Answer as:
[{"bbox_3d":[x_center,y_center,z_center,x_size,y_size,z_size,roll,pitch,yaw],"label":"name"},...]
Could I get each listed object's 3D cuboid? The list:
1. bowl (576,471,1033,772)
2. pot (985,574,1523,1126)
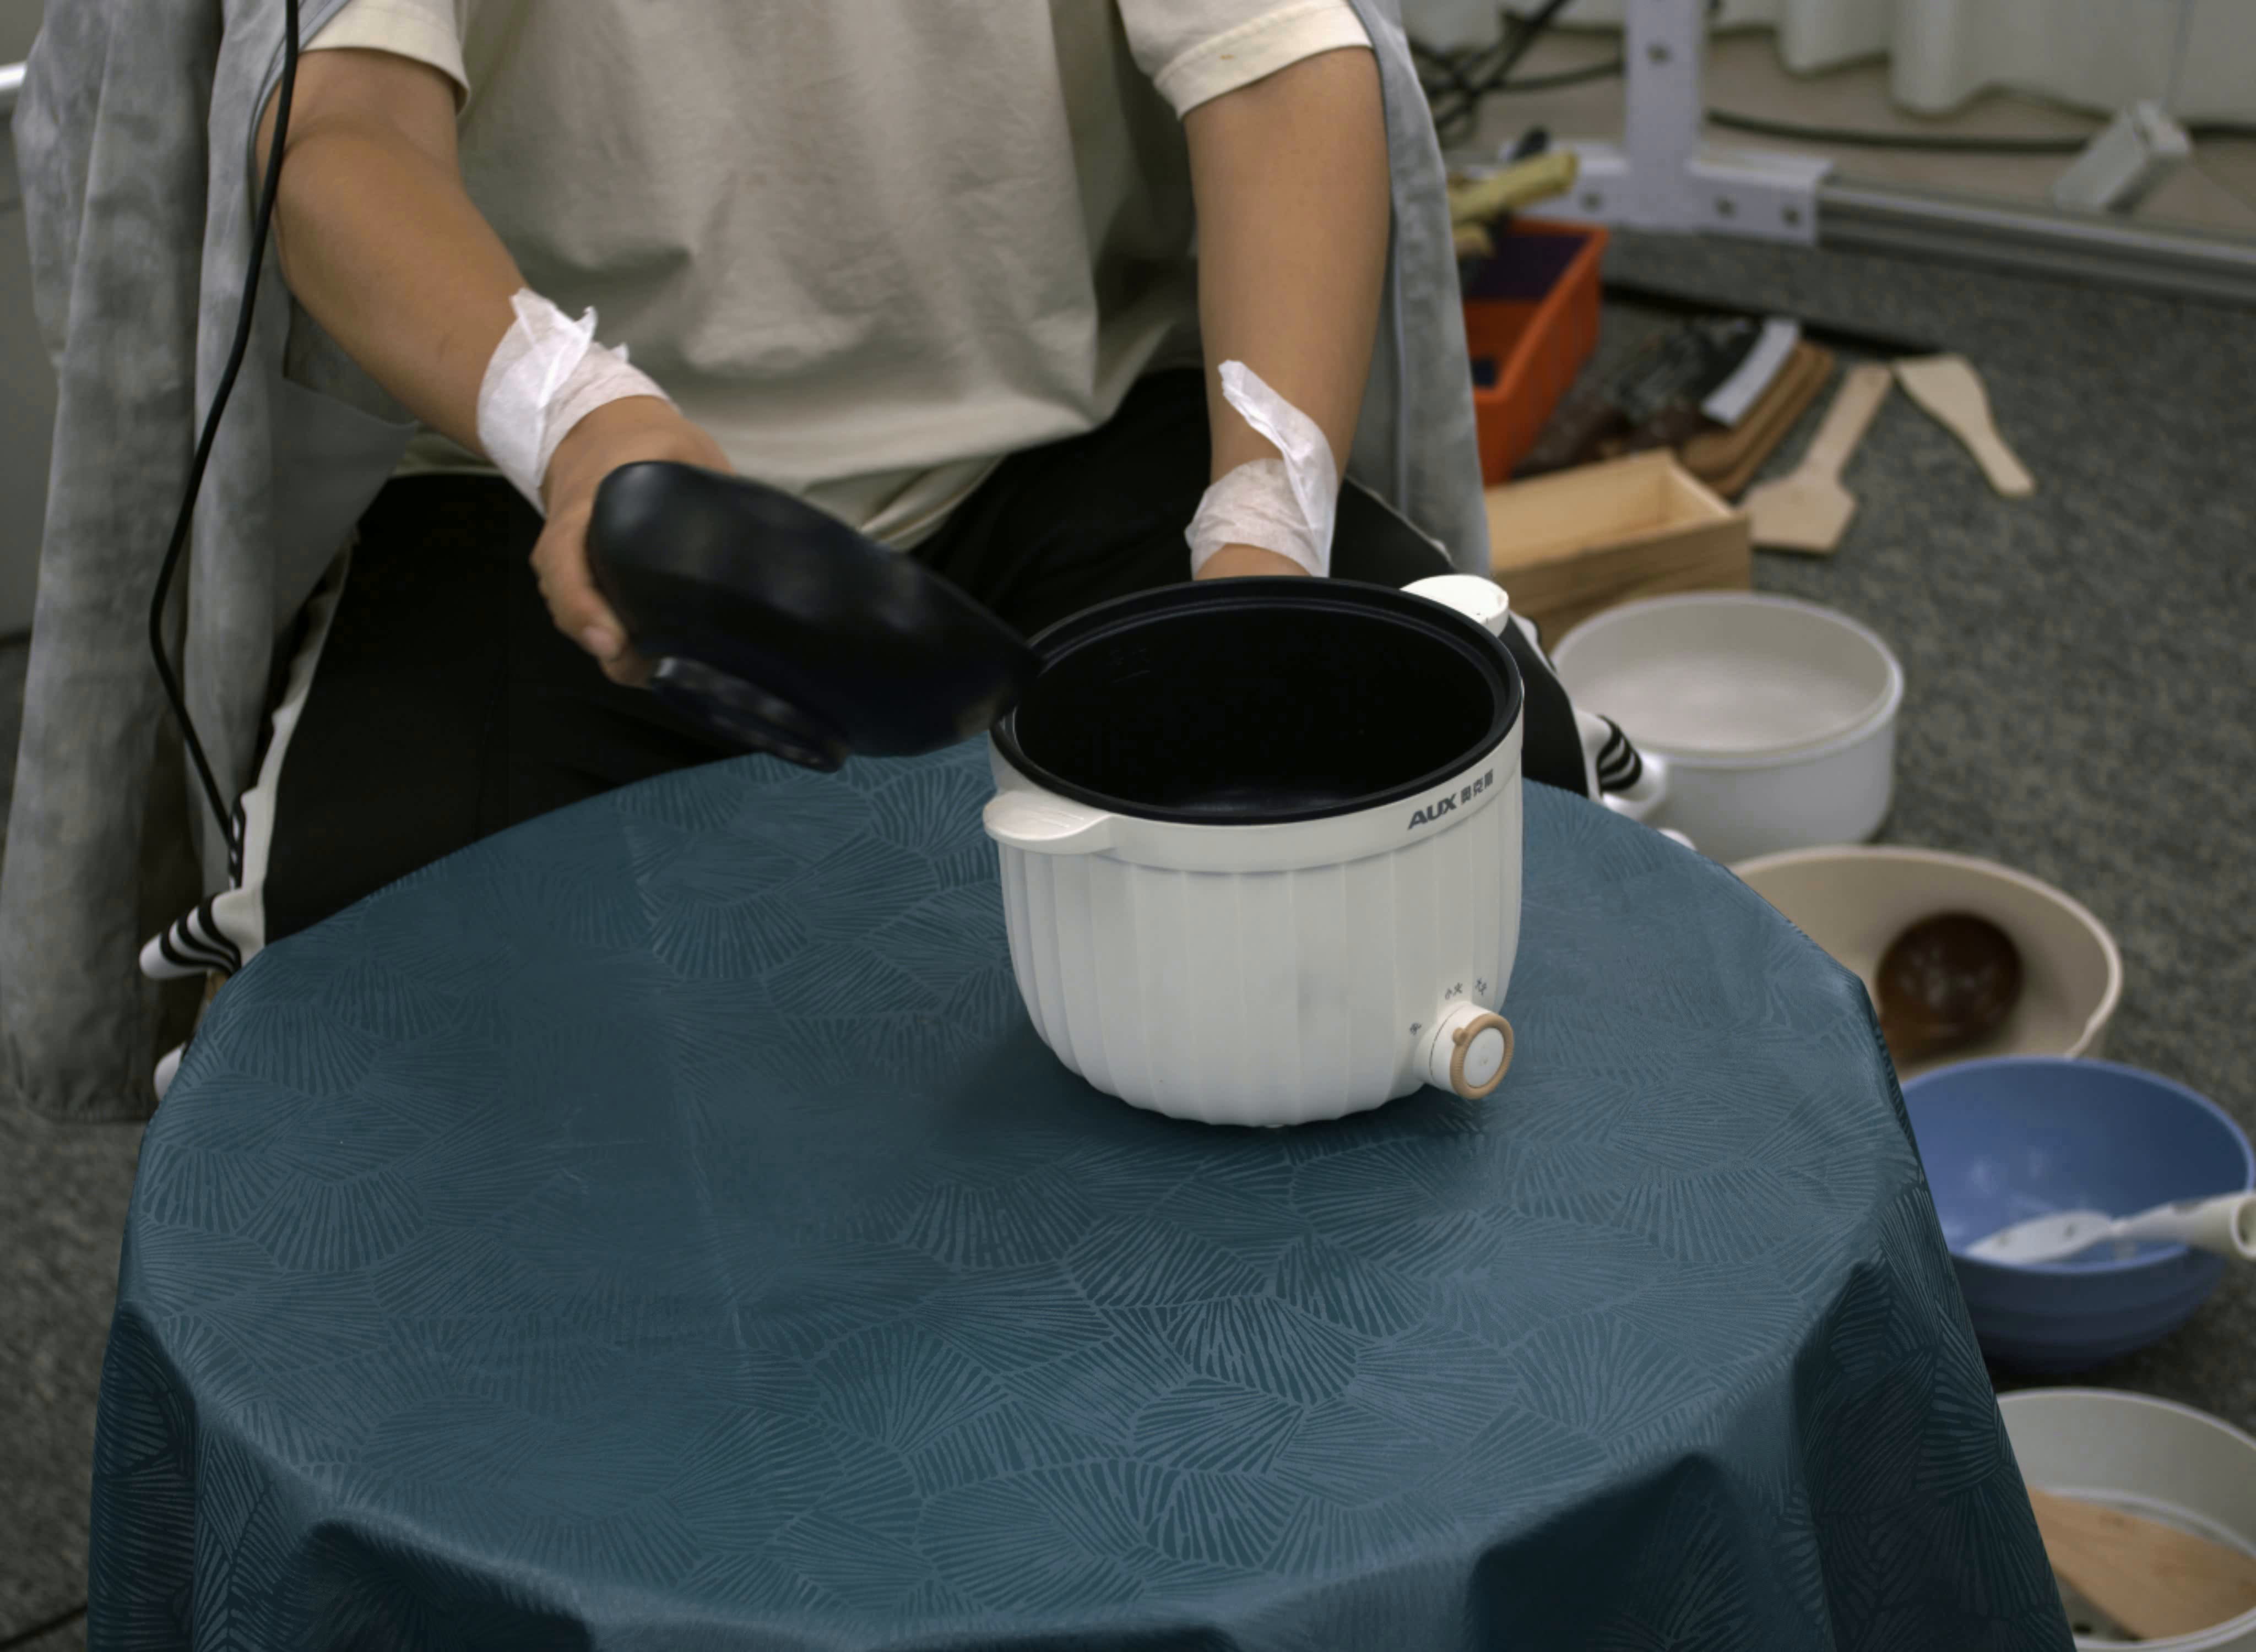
[{"bbox_3d":[-0.115,-0.060,1.820,0.169,0.067,0.136,17,-11,34],"label":"bowl"},{"bbox_3d":[0.050,0.014,1.916,0.190,0.141,0.243,17,34,41],"label":"pot"}]
